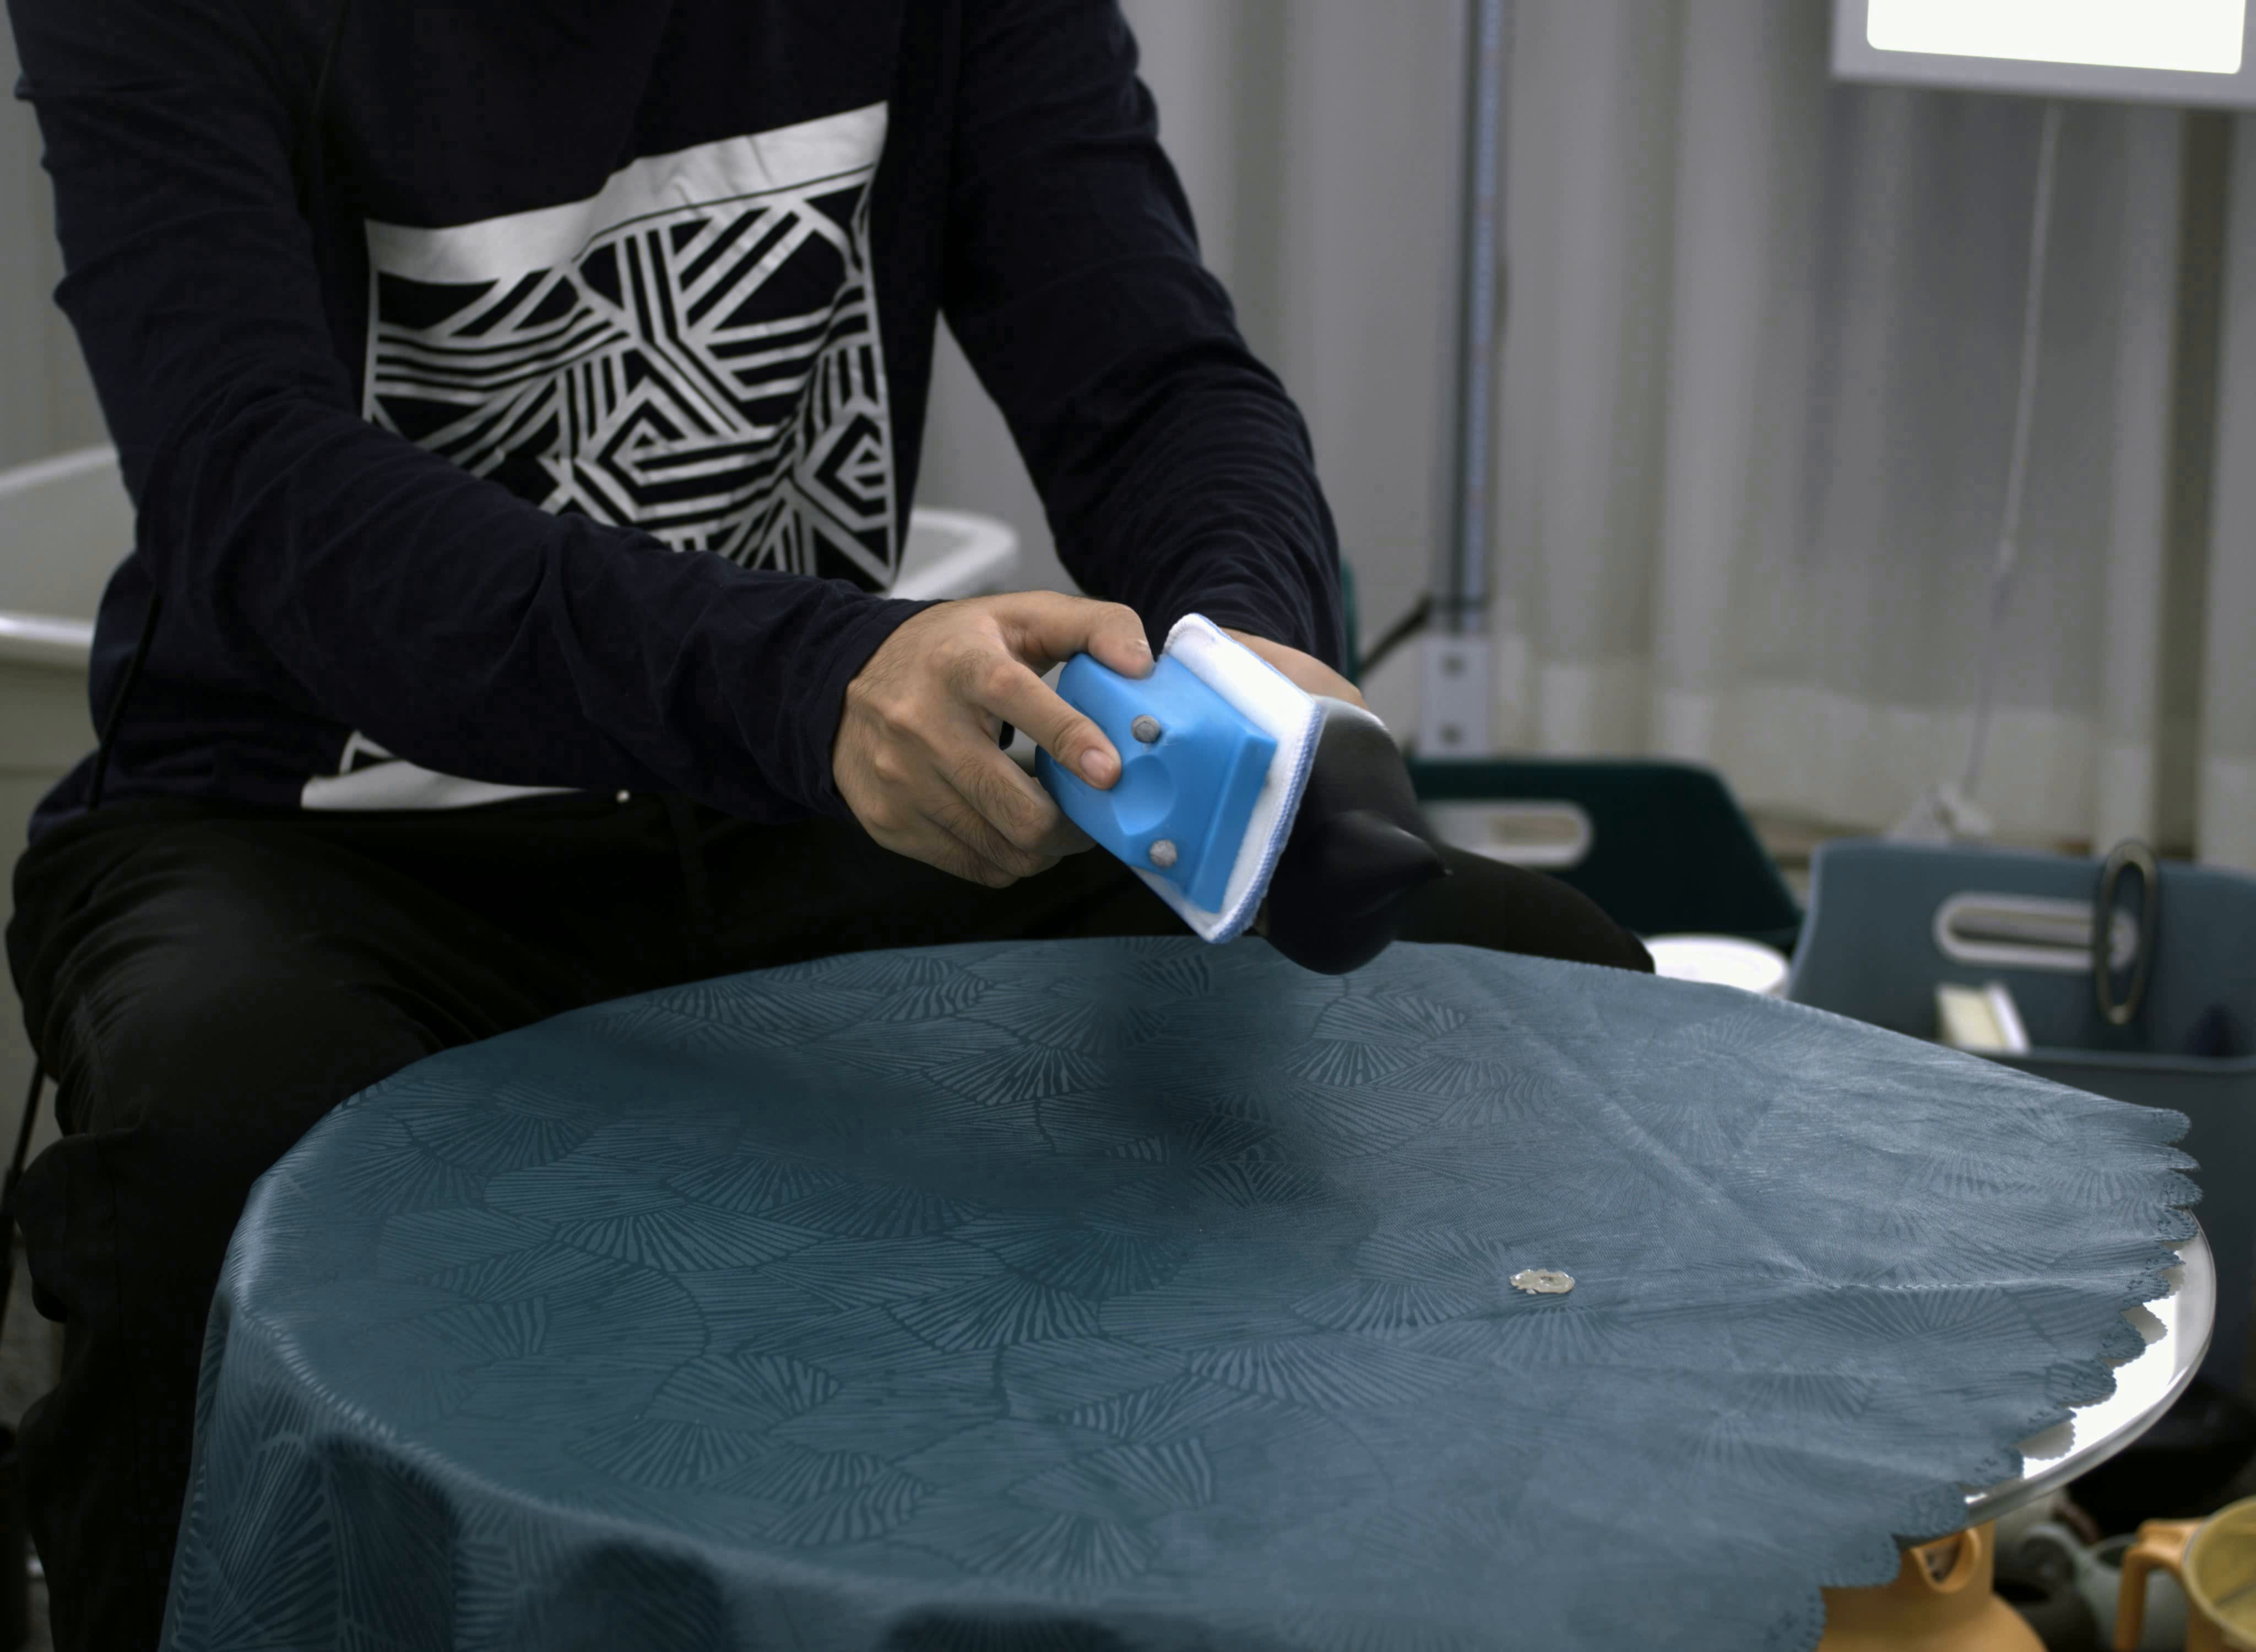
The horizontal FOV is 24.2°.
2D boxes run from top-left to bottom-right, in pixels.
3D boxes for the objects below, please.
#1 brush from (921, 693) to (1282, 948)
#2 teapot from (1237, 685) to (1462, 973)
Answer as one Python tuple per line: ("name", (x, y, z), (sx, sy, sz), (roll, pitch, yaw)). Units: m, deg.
("brush", (-0.016, -0.007, 1.605), (0.056, 0.084, 0.142), (30, -17, -30))
("teapot", (0.062, 0.000, 1.626), (0.053, 0.092, 0.132), (-16, 18, -8))
